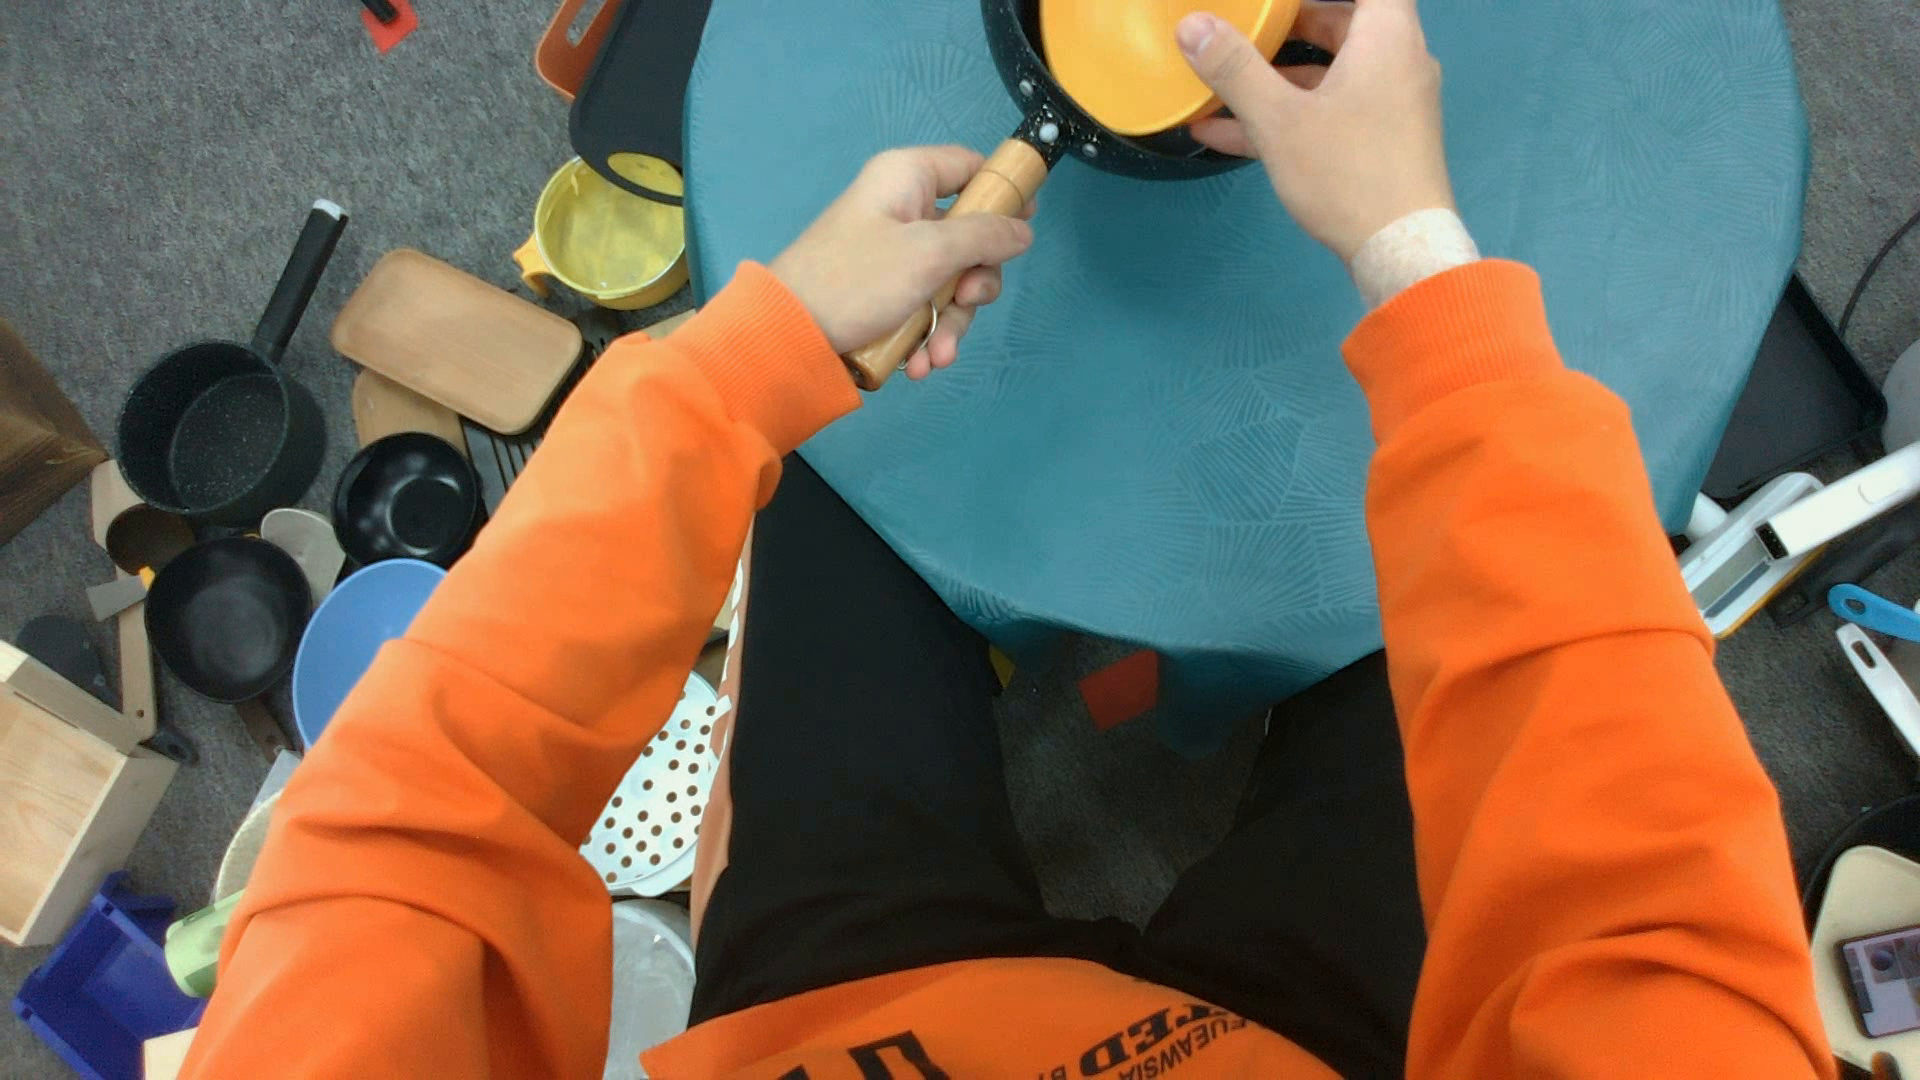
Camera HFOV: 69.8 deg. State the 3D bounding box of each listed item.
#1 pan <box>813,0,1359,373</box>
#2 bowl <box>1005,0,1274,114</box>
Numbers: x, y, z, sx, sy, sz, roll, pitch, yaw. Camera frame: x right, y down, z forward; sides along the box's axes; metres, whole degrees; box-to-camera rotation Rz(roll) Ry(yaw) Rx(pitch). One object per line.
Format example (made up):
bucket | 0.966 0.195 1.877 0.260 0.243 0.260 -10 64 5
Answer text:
pan | 0.042 -0.203 0.632 0.207 0.108 0.343 39 80 -12
bowl | 0.092 -0.255 0.612 0.145 0.060 0.145 -2 86 43
